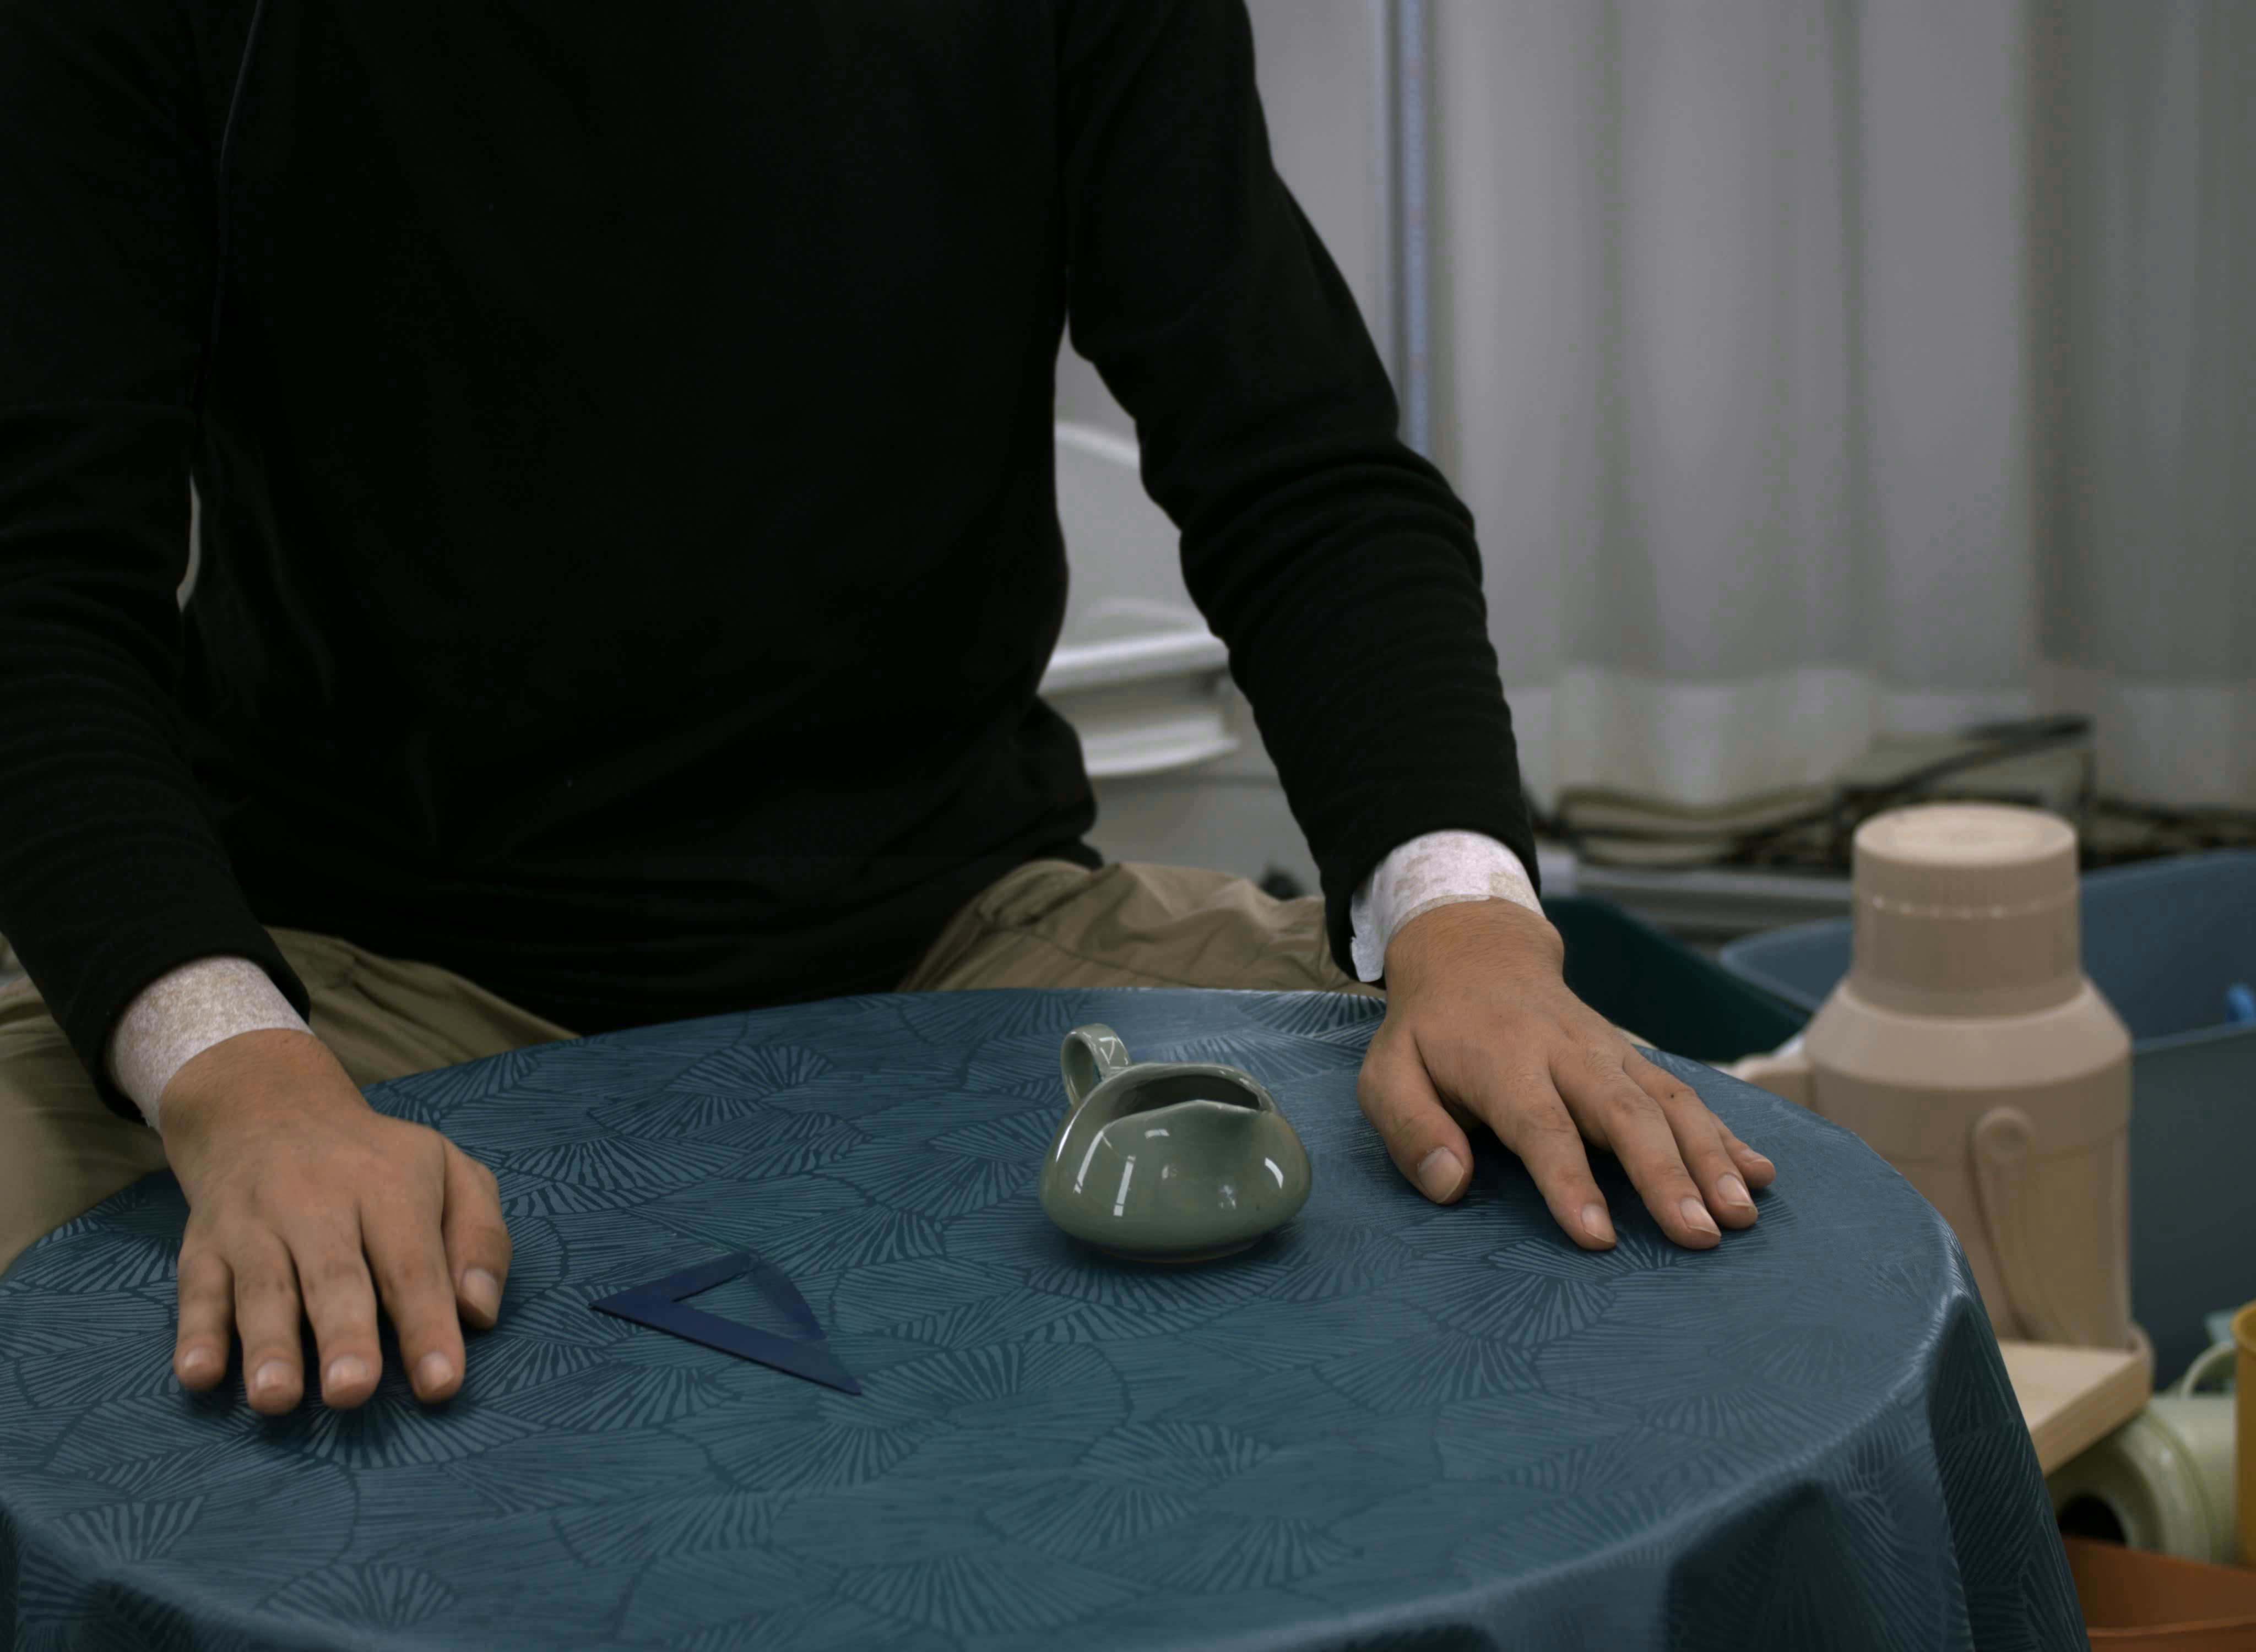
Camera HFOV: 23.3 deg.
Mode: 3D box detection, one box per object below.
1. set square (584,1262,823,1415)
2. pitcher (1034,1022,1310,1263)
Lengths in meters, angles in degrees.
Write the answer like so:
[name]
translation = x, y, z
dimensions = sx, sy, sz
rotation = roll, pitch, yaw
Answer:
[set square]
translation = -0.125, 0.150, 1.597
dimensions = 0.061, 0.006, 0.133
rotation = -5, 15, -10
[pitcher]
translation = 0.010, 0.097, 1.670
dimensions = 0.084, 0.056, 0.113
rotation = -8, 15, -29
